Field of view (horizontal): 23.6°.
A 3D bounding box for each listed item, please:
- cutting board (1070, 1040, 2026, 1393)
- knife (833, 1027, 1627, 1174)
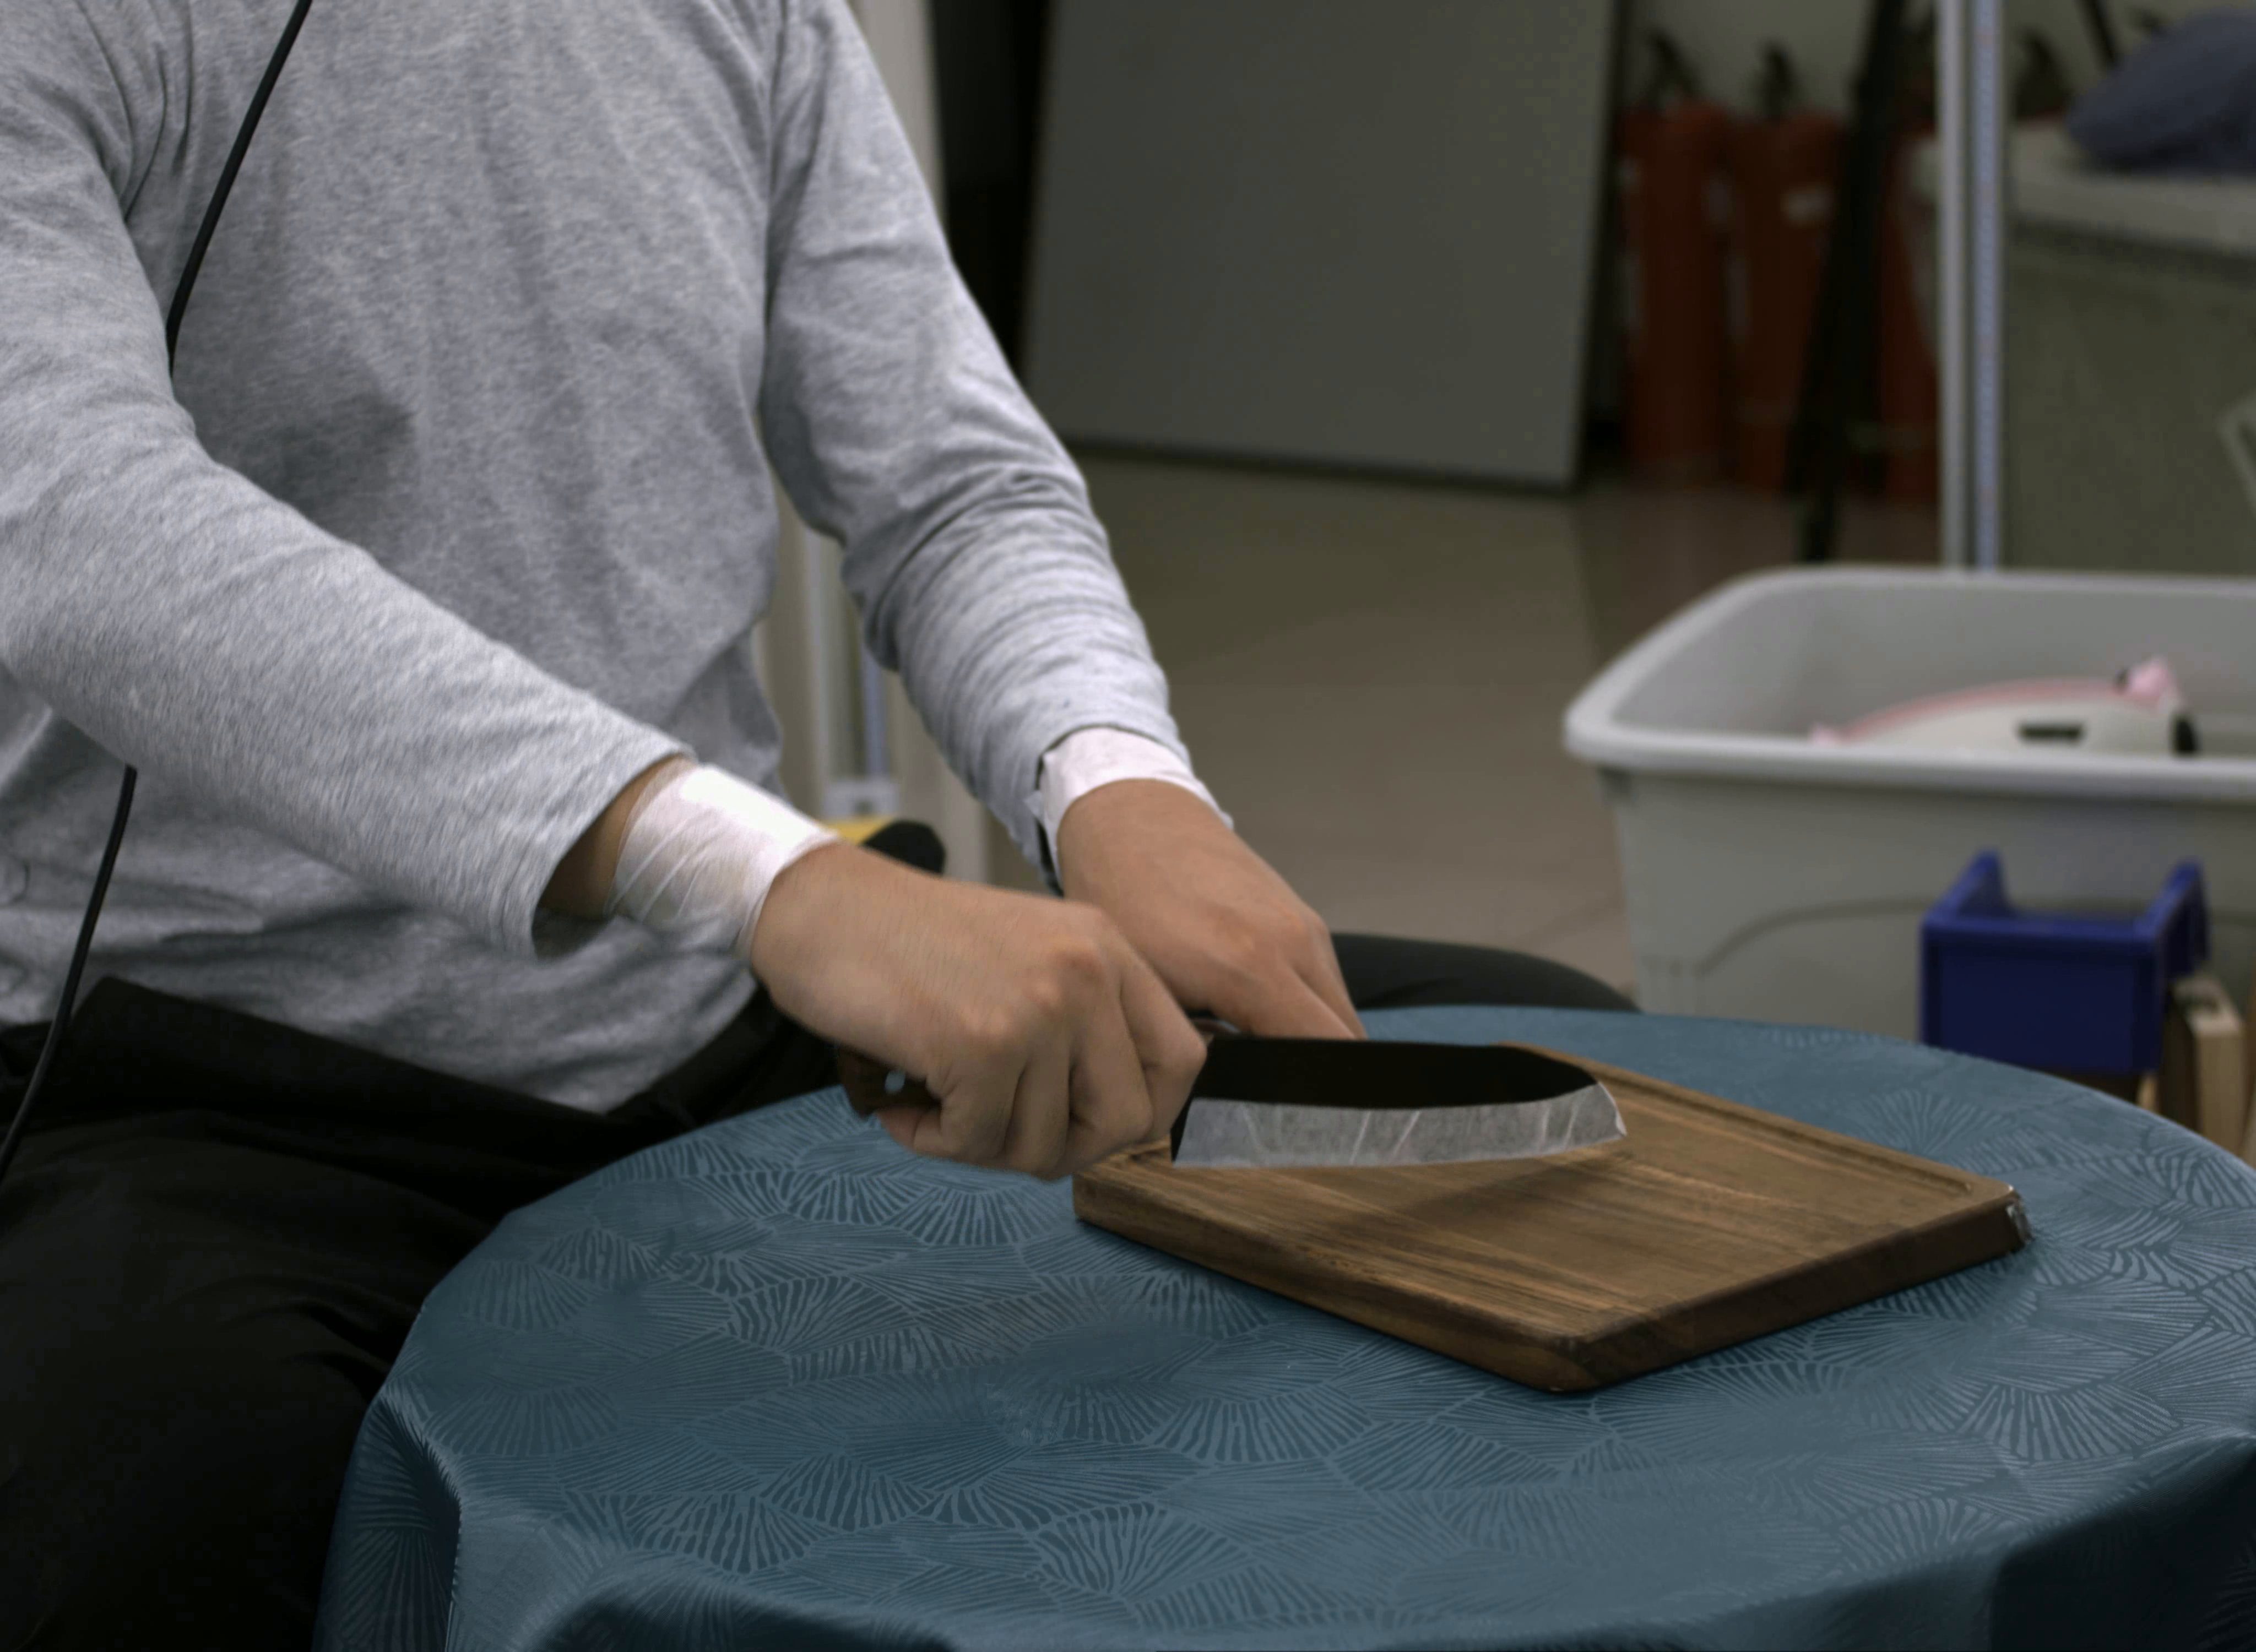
[{"bbox_3d":[0.100,0.112,1.742,0.196,0.023,0.356,-13,16,-34],"label":"cutting board"},{"bbox_3d":[0.037,0.084,1.664,0.282,0.051,0.020,5,19,-28],"label":"knife"}]
